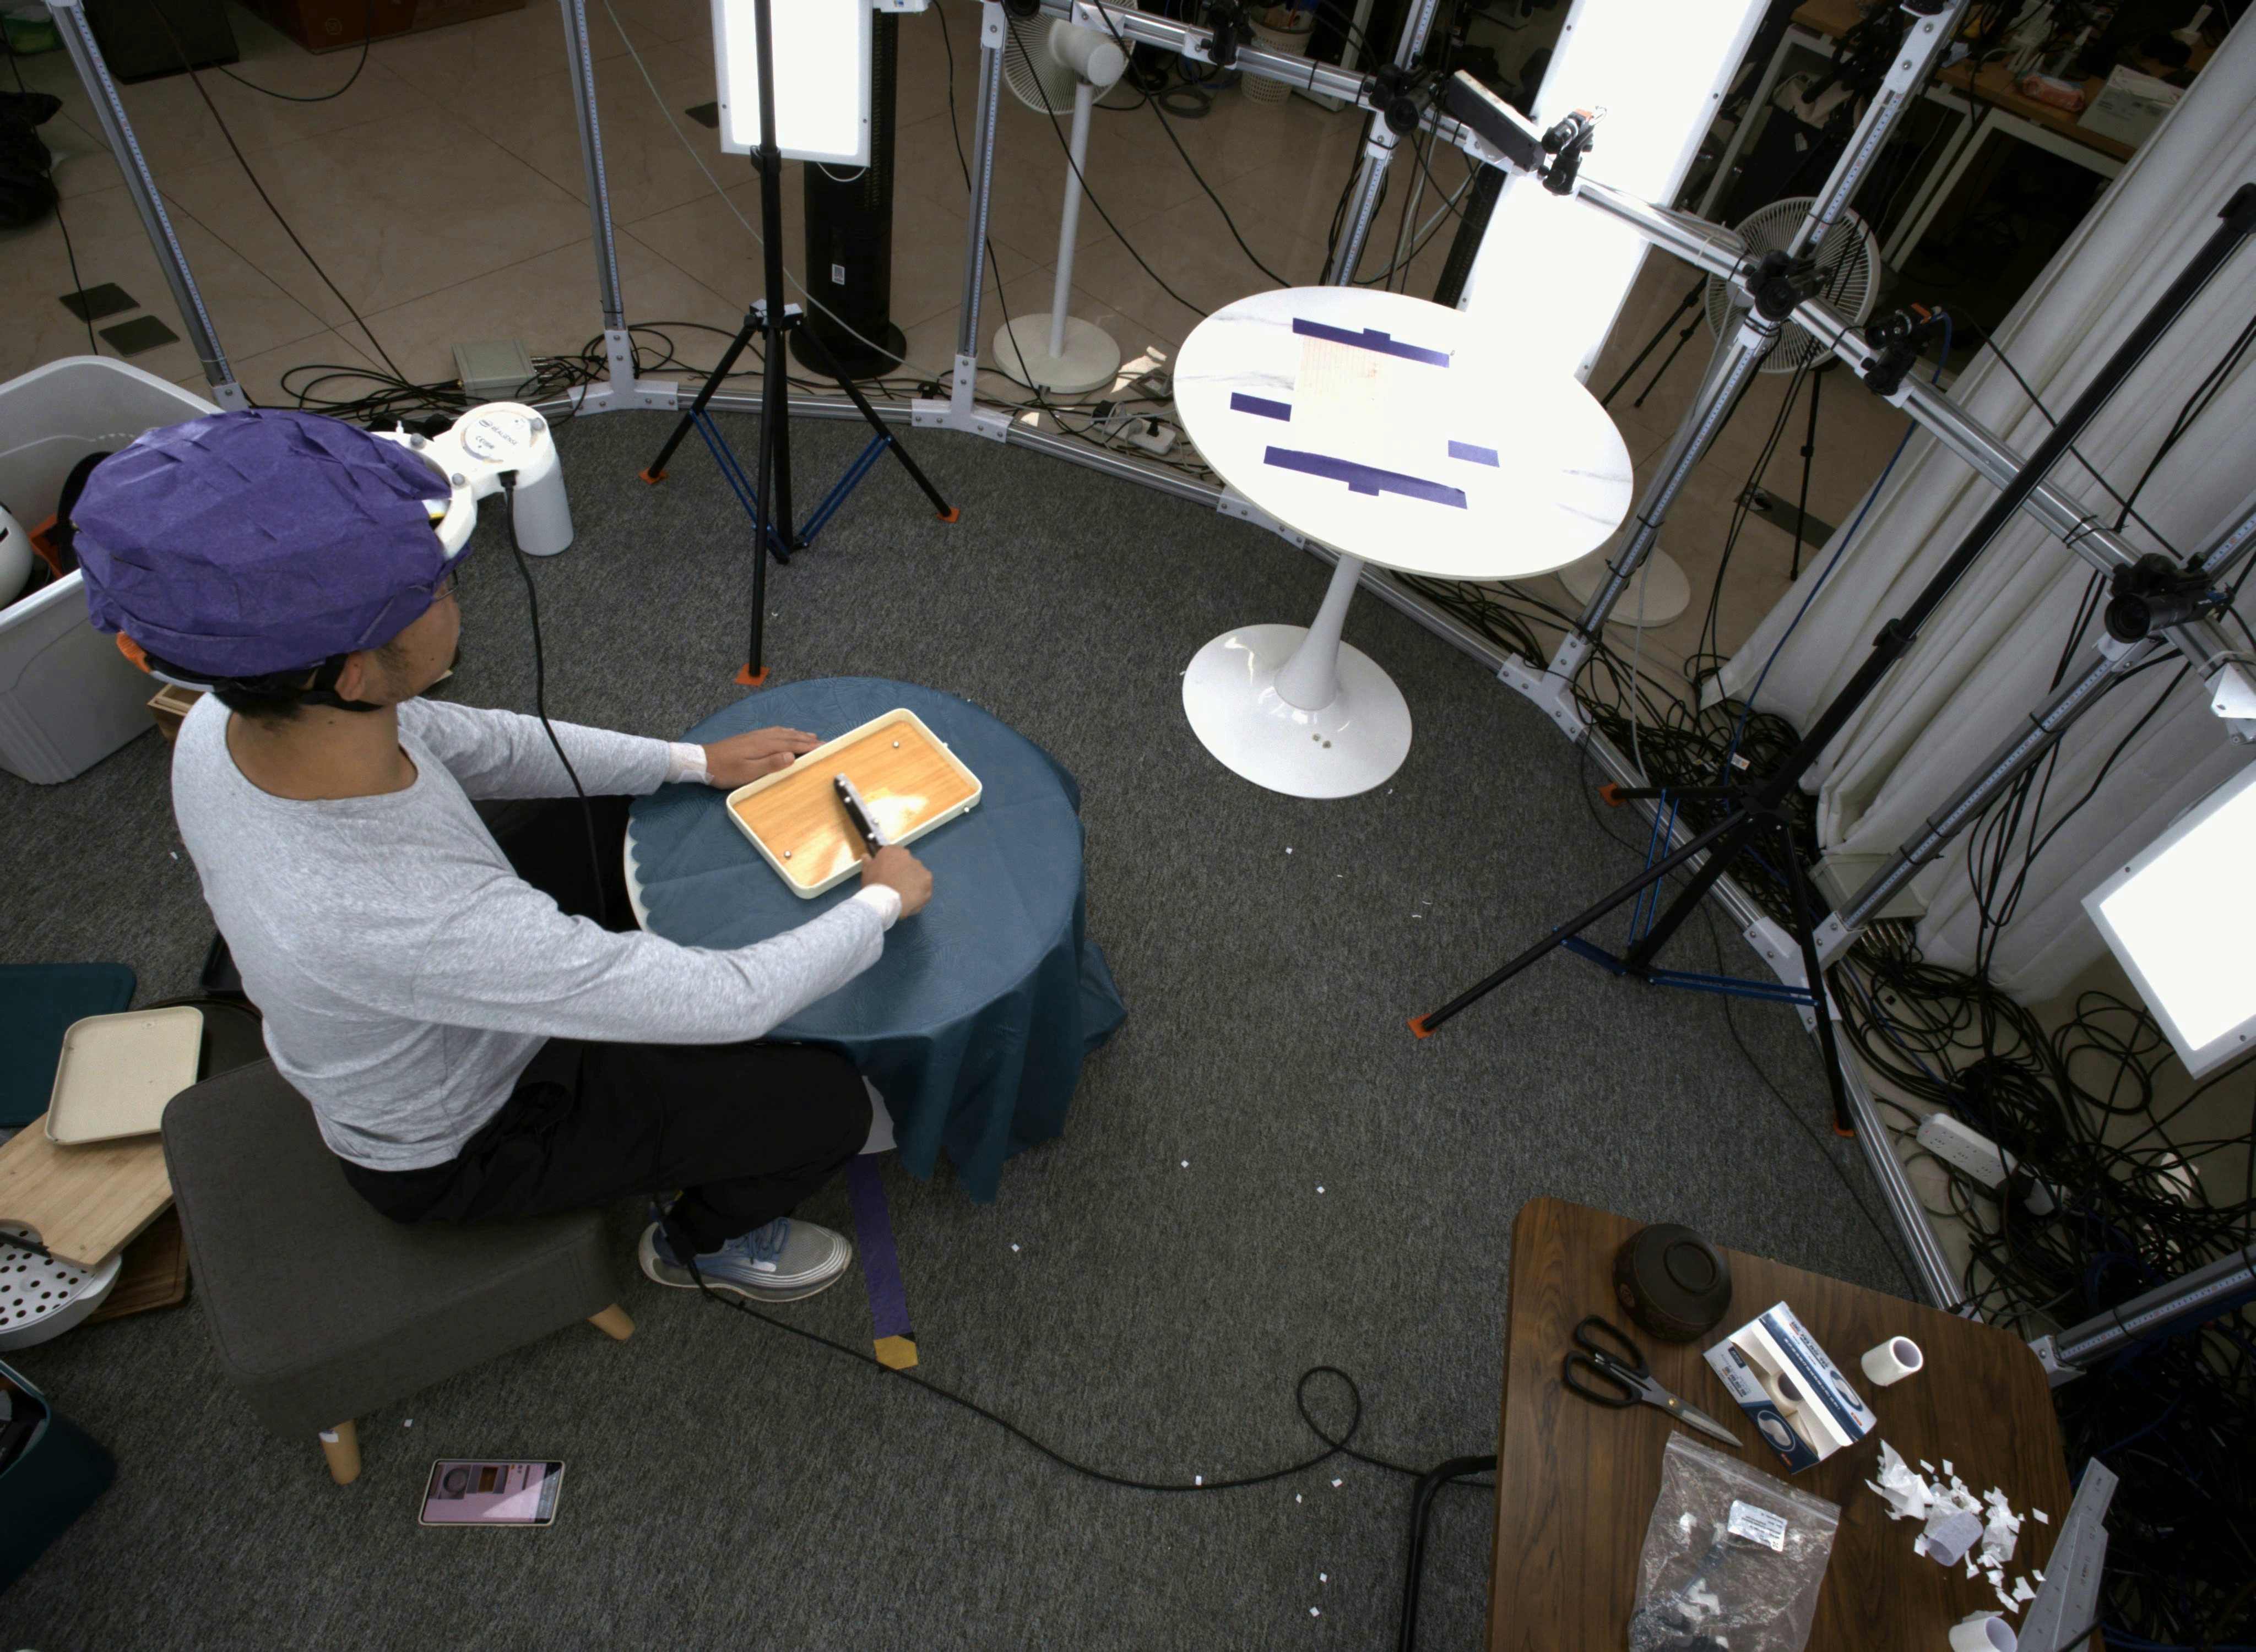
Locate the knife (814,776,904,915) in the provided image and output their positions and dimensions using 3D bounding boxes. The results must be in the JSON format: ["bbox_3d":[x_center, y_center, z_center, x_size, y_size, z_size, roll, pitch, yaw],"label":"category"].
[{"bbox_3d":[-0.353,0.017,1.689,0.051,0.020,0.279,17,27,-46],"label":"knife"}]

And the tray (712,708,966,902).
[{"bbox_3d":[-0.387,-0.035,1.754,0.301,0.028,0.187,-34,68,-32],"label":"tray"}]
